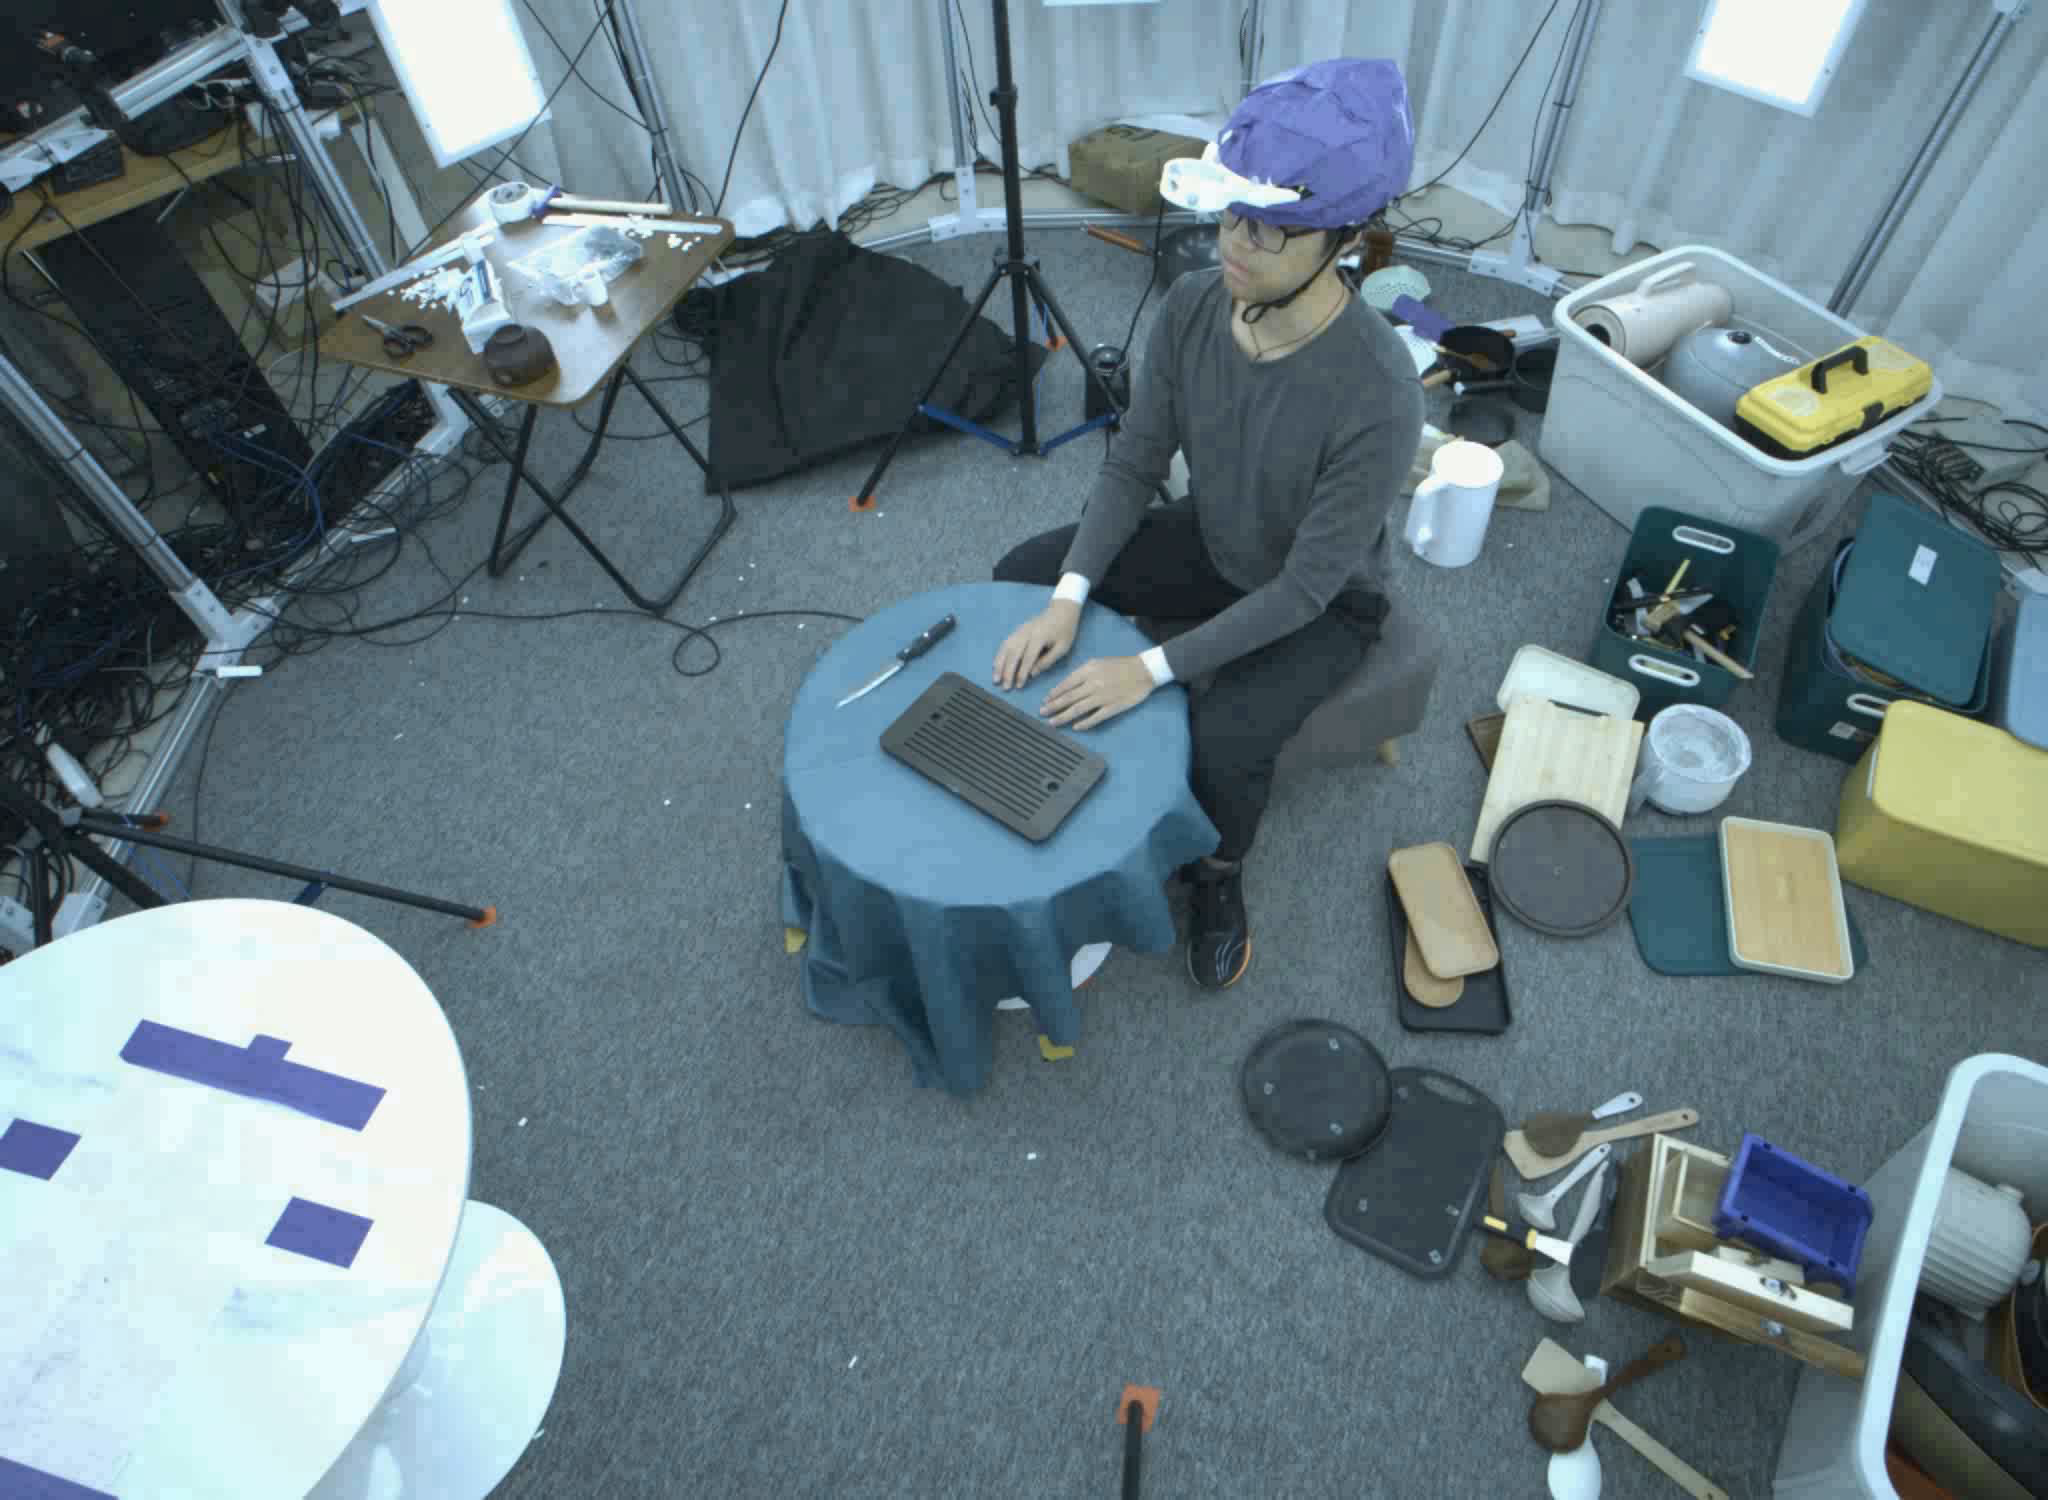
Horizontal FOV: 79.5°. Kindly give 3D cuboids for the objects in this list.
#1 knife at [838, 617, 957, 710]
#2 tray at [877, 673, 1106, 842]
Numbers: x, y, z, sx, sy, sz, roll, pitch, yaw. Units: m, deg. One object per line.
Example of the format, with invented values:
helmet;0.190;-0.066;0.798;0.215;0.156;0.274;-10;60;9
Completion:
knife;-0.197;-0.136;1.890;0.239;0.016;0.024;-40;60;-21
tray;-0.048;0.007;1.780;0.301;0.019;0.171;31;60;21
